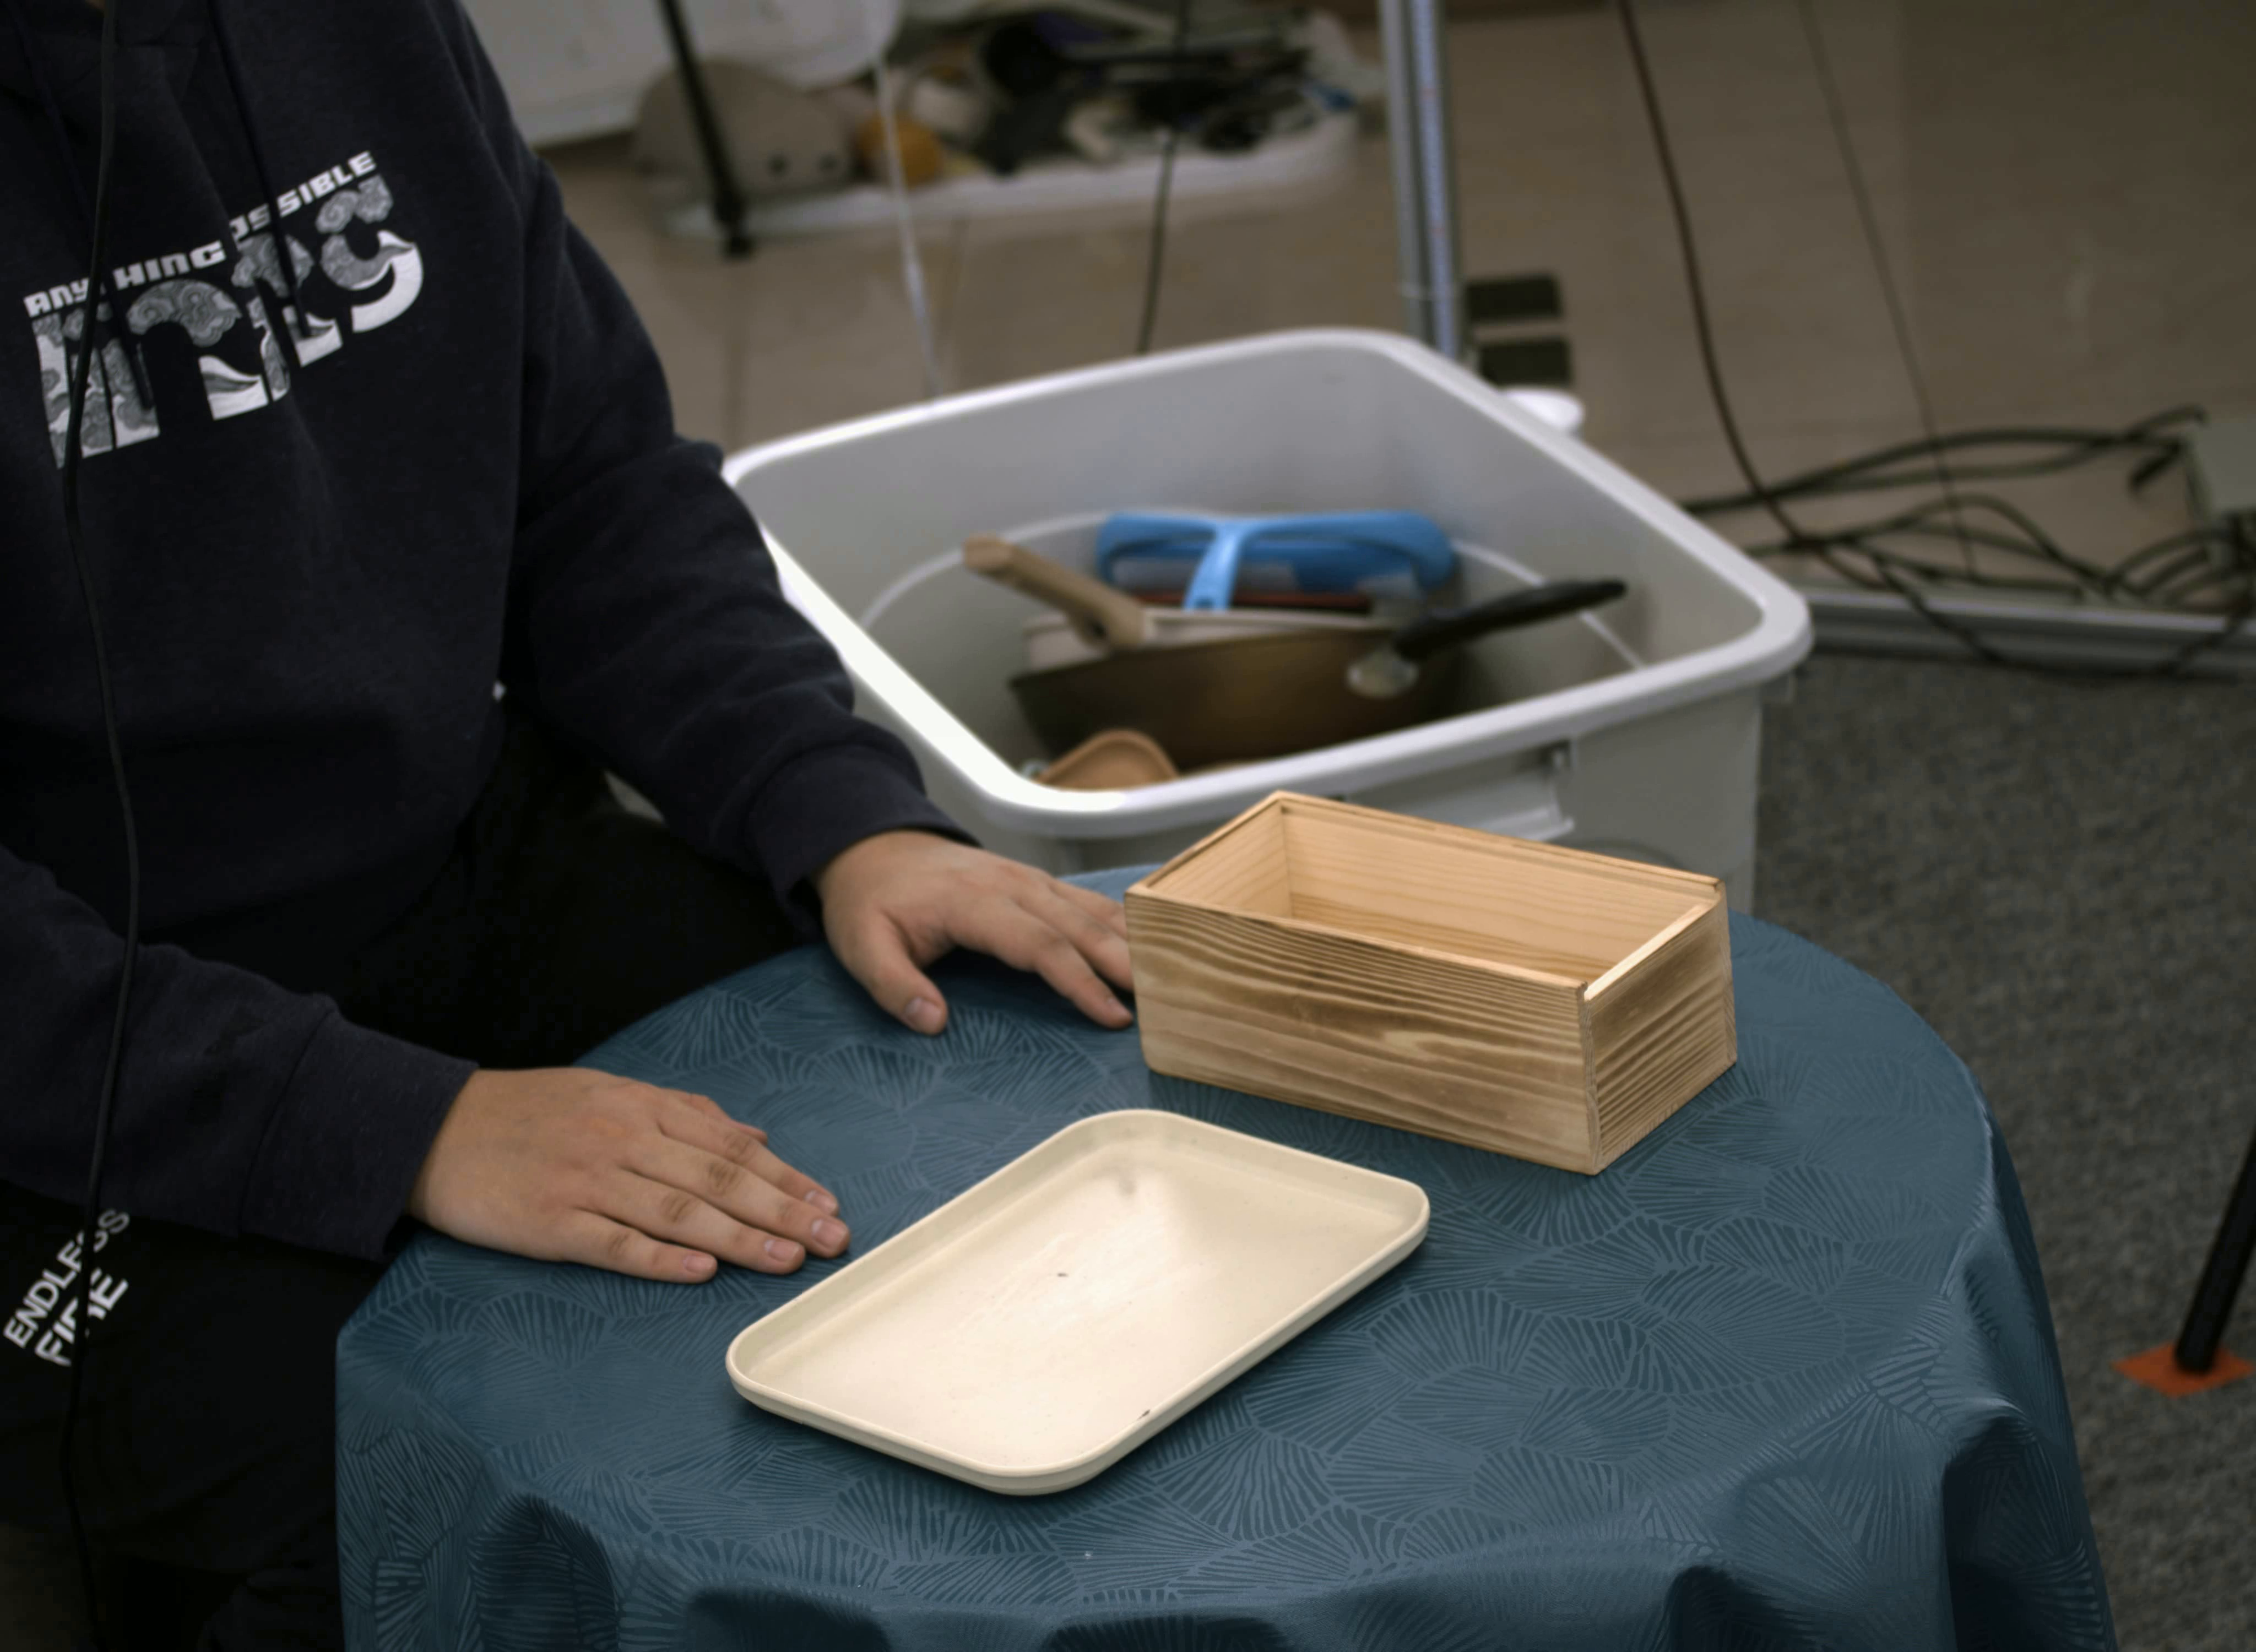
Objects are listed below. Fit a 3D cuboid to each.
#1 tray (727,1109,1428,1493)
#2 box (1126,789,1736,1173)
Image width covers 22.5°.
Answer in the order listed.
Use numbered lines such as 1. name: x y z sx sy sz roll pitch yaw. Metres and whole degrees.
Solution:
1. tray: -0.016 0.171 2.061 0.170 0.018 0.237 14 32 39
2. box: 0.117 0.057 2.200 0.210 0.081 0.106 12 30 35
